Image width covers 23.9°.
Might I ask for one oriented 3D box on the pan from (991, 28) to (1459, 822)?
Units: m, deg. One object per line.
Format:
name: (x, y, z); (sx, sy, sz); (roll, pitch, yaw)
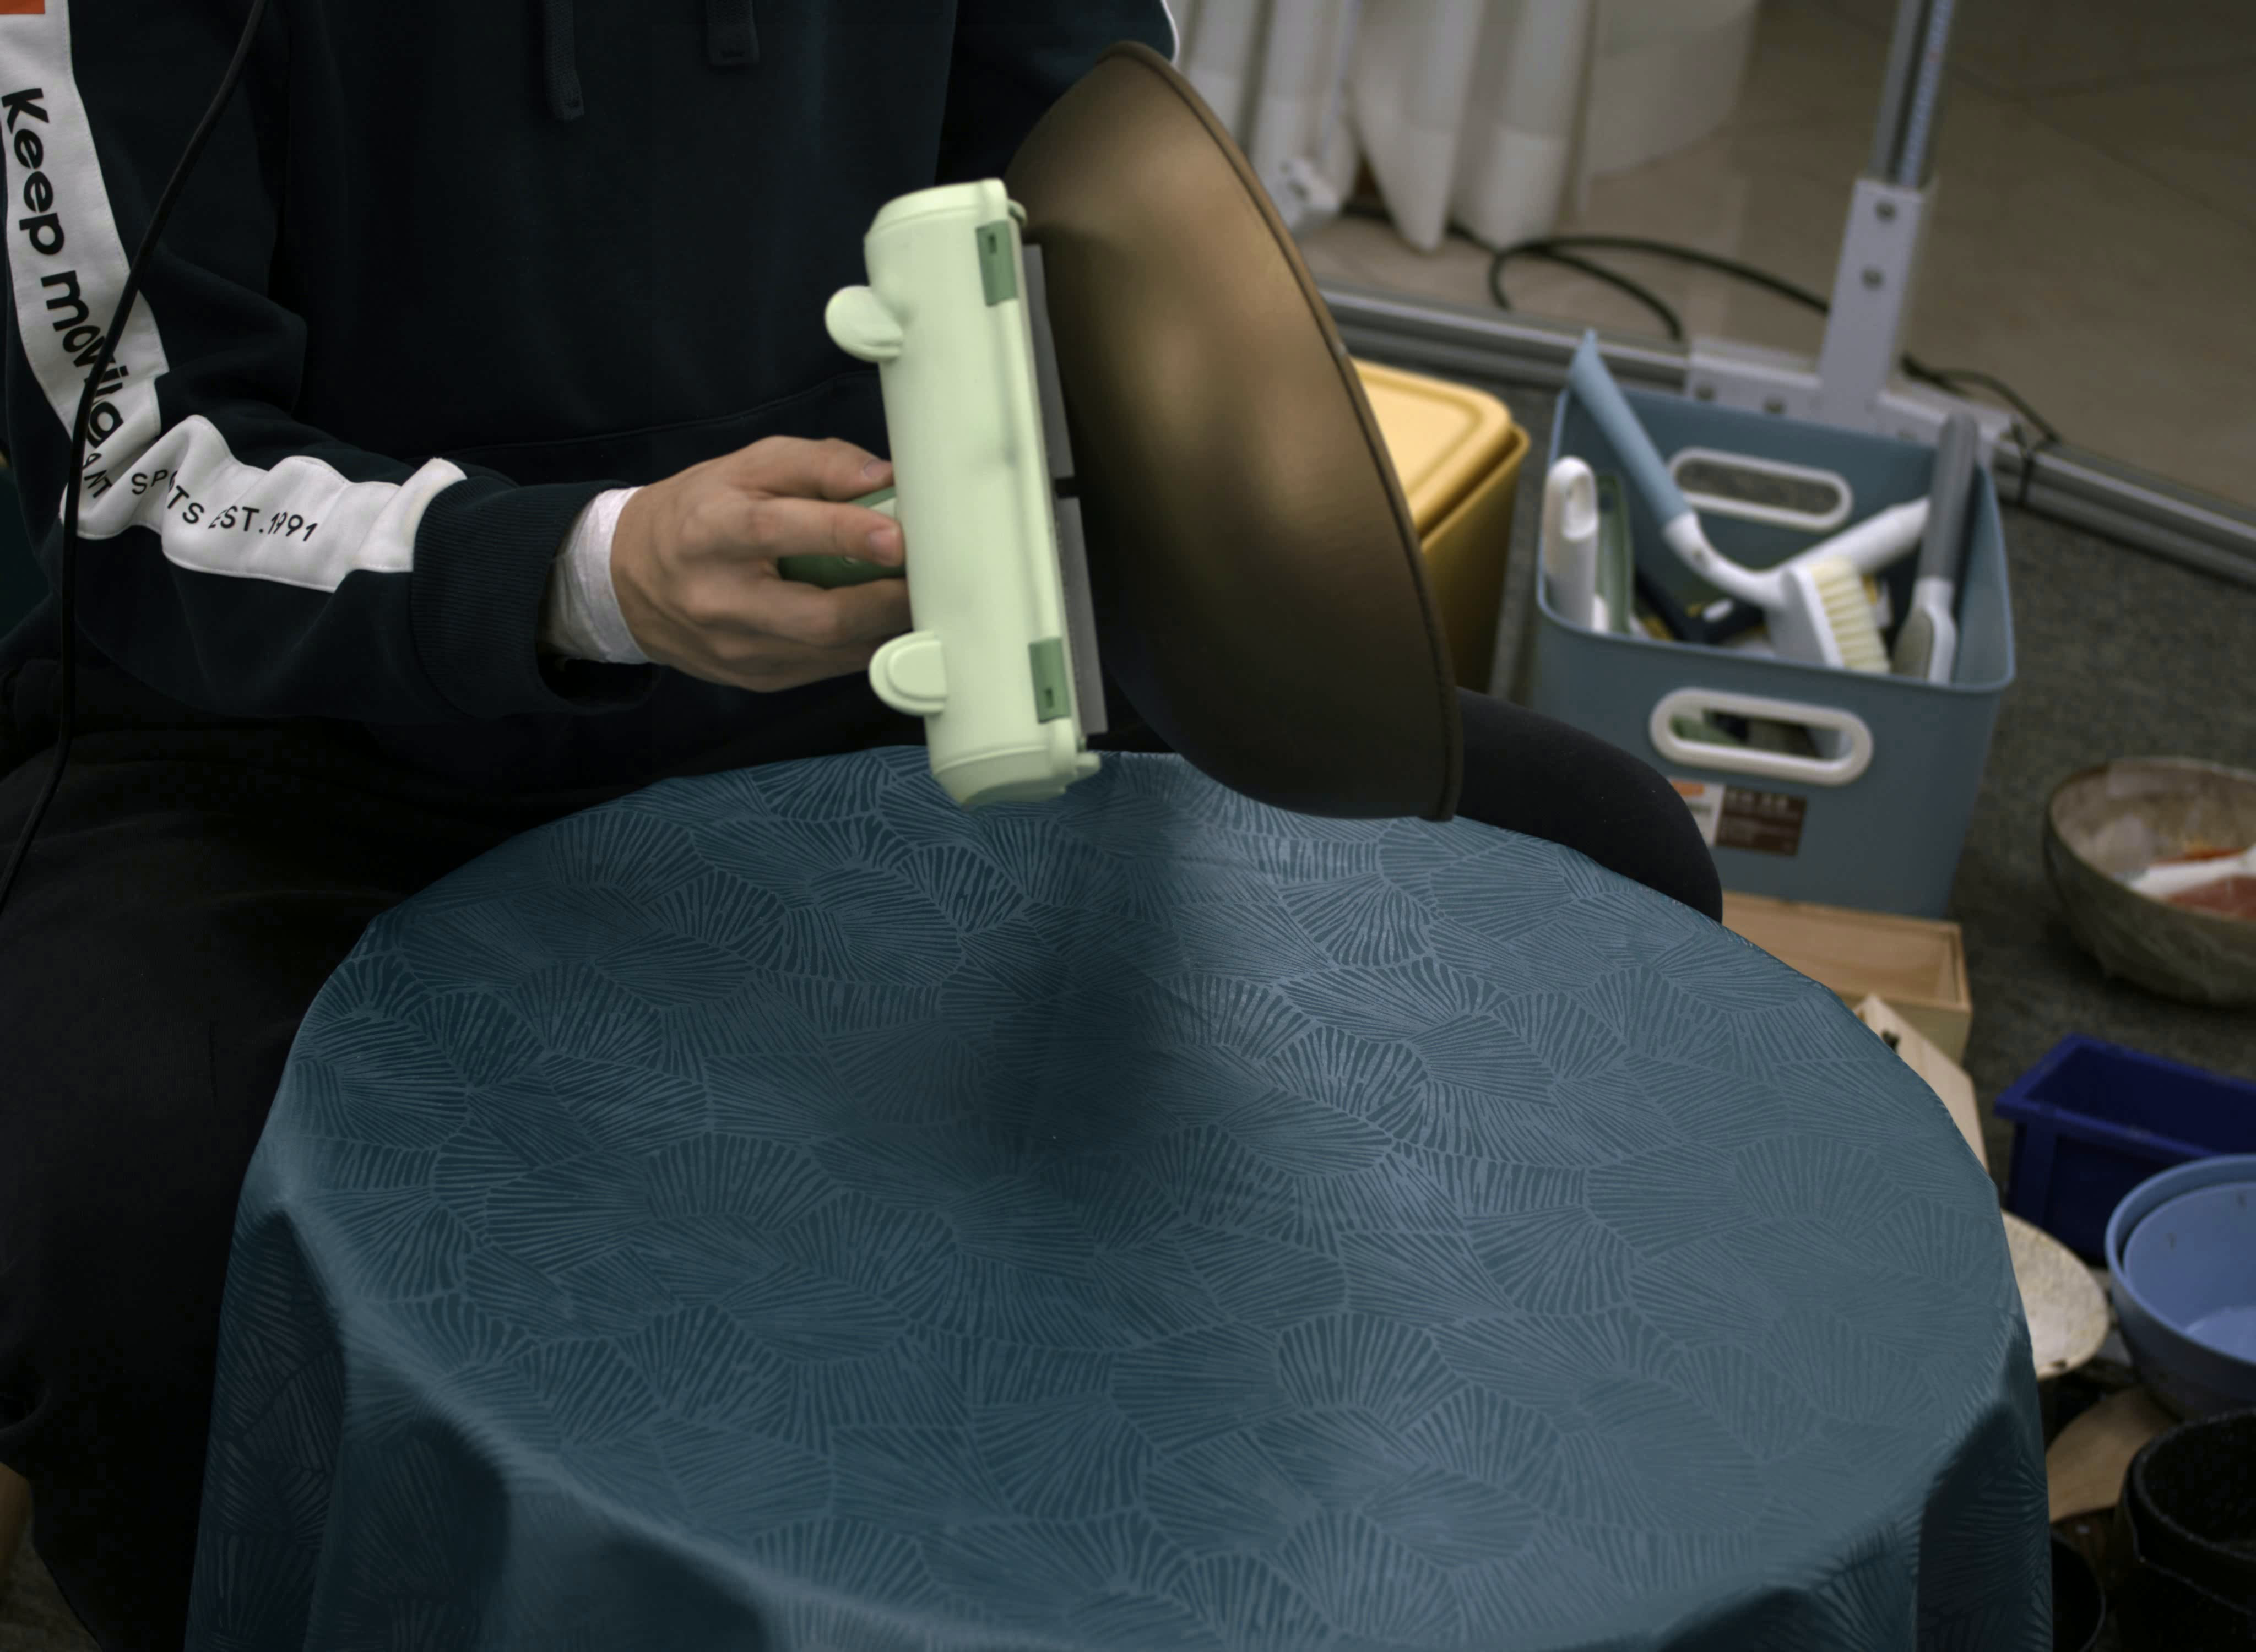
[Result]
pan: (0.009, -0.104, 1.875); (0.086, 0.289, 0.462); (-22, -8, -9)

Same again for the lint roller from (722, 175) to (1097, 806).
lint roller: (-0.092, -0.095, 1.734); (0.081, 0.199, 0.184); (2, -13, -45)
